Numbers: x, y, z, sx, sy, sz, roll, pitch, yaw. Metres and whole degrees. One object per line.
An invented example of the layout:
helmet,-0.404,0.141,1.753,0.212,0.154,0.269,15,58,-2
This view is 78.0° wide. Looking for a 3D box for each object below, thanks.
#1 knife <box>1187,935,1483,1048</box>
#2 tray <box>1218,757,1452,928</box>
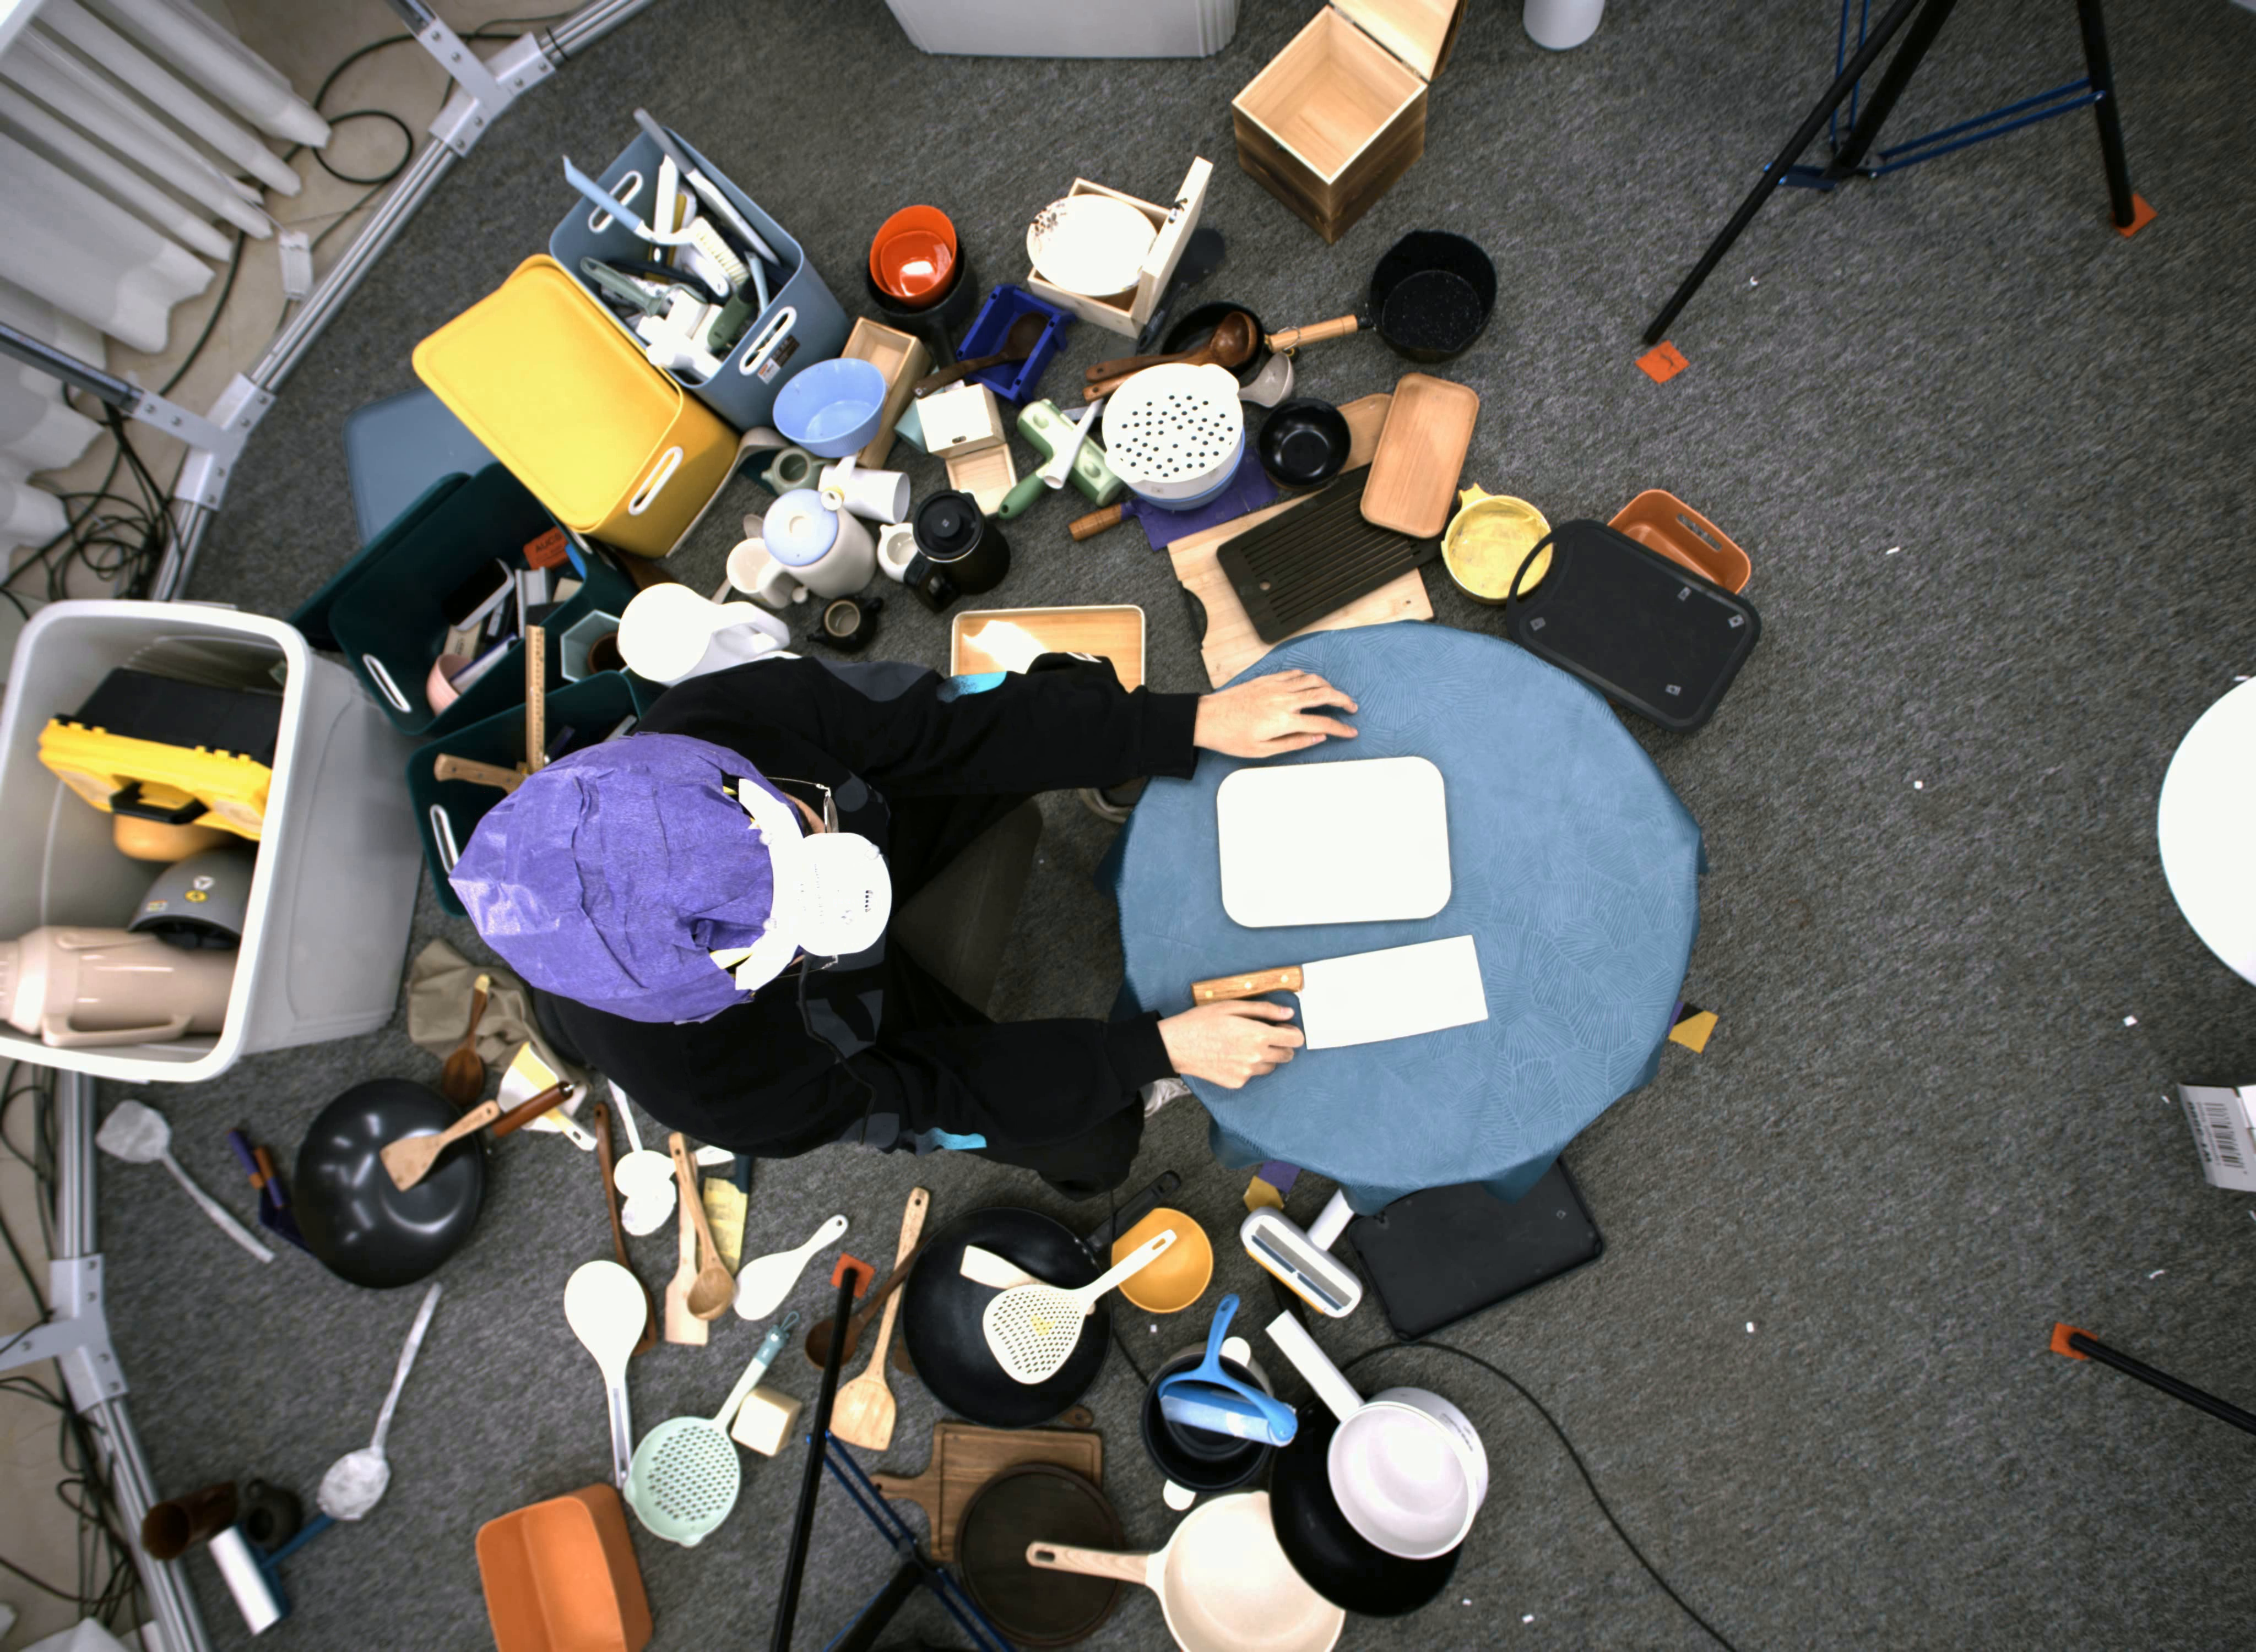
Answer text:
knife,0.218,0.181,1.456,0.307,0.021,0.092,-11,86,7
tray,0.217,0.017,1.463,0.241,0.017,0.170,-4,87,10
